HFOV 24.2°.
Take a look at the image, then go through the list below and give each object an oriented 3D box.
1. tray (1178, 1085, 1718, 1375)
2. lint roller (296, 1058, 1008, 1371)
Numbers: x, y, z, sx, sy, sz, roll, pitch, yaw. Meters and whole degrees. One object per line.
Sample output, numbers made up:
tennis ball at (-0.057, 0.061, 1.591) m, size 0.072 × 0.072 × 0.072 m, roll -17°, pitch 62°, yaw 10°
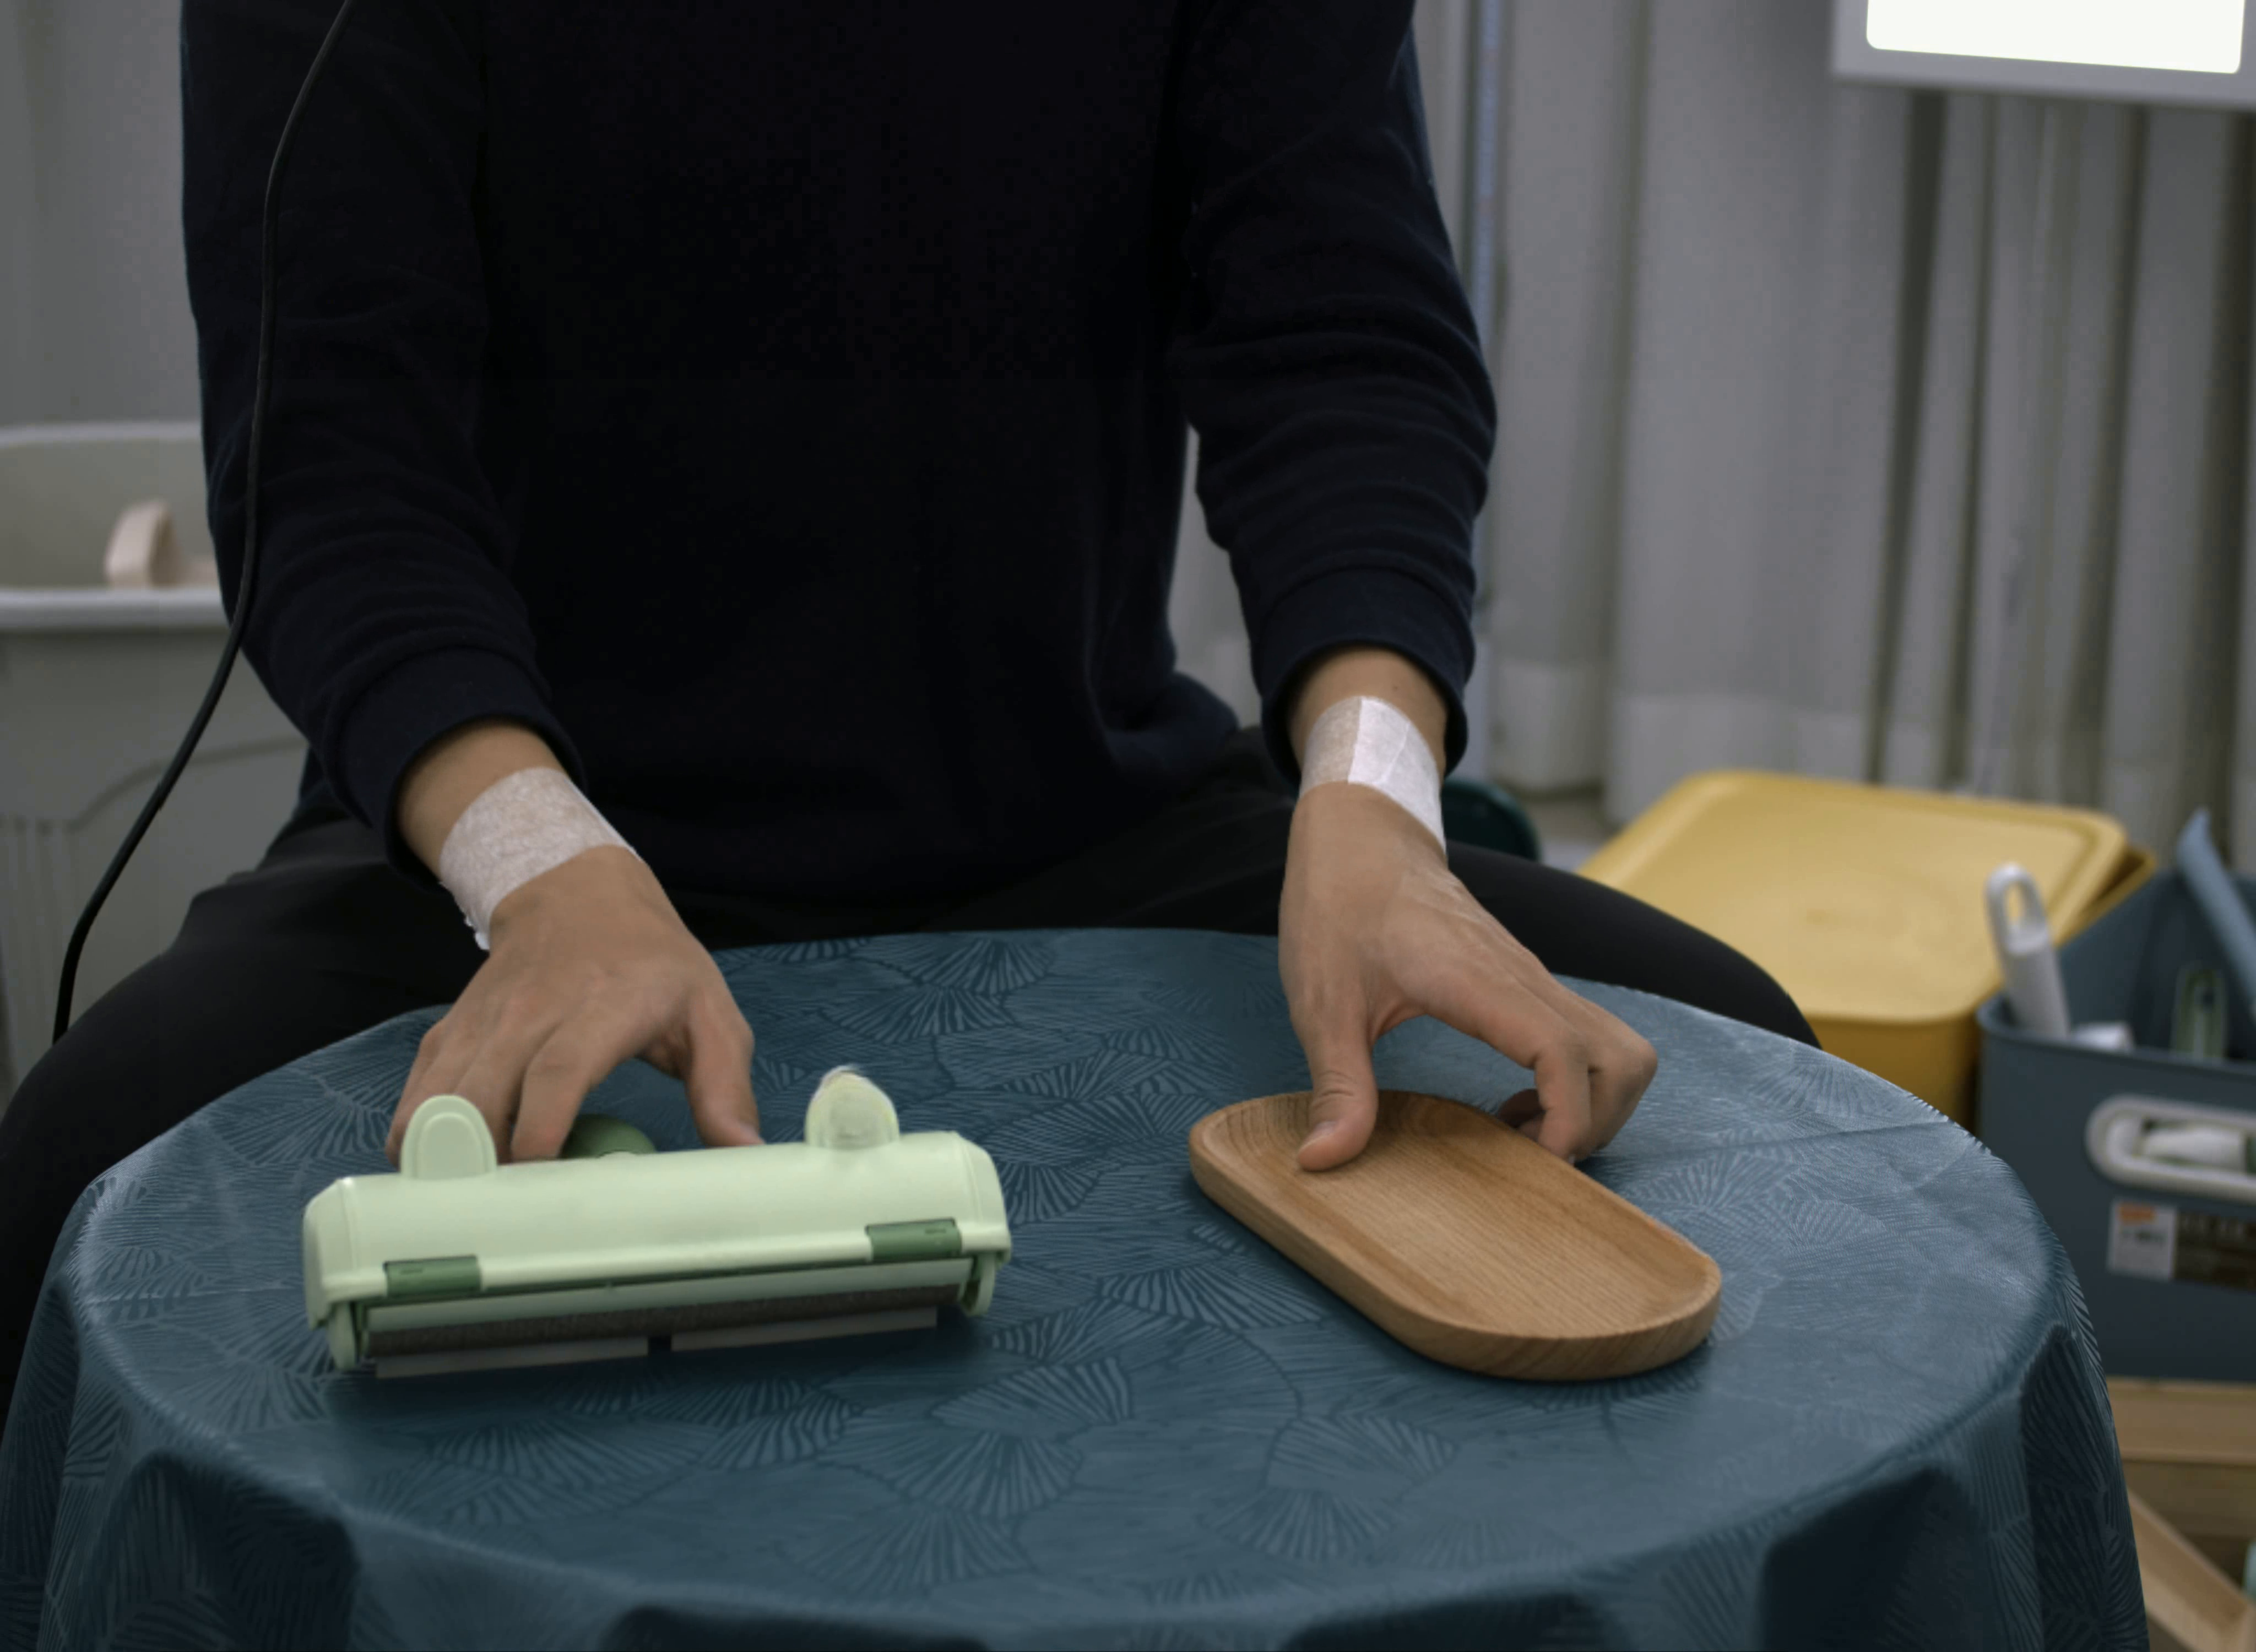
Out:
tray at (0.093, 0.118, 1.573) m, size 0.102 × 0.020 × 0.228 m, roll -6°, pitch 15°, yaw -23°
lint roller at (-0.148, 0.092, 1.529) m, size 0.199 × 0.083 × 0.181 m, roll -3°, pitch 22°, yaw -16°
